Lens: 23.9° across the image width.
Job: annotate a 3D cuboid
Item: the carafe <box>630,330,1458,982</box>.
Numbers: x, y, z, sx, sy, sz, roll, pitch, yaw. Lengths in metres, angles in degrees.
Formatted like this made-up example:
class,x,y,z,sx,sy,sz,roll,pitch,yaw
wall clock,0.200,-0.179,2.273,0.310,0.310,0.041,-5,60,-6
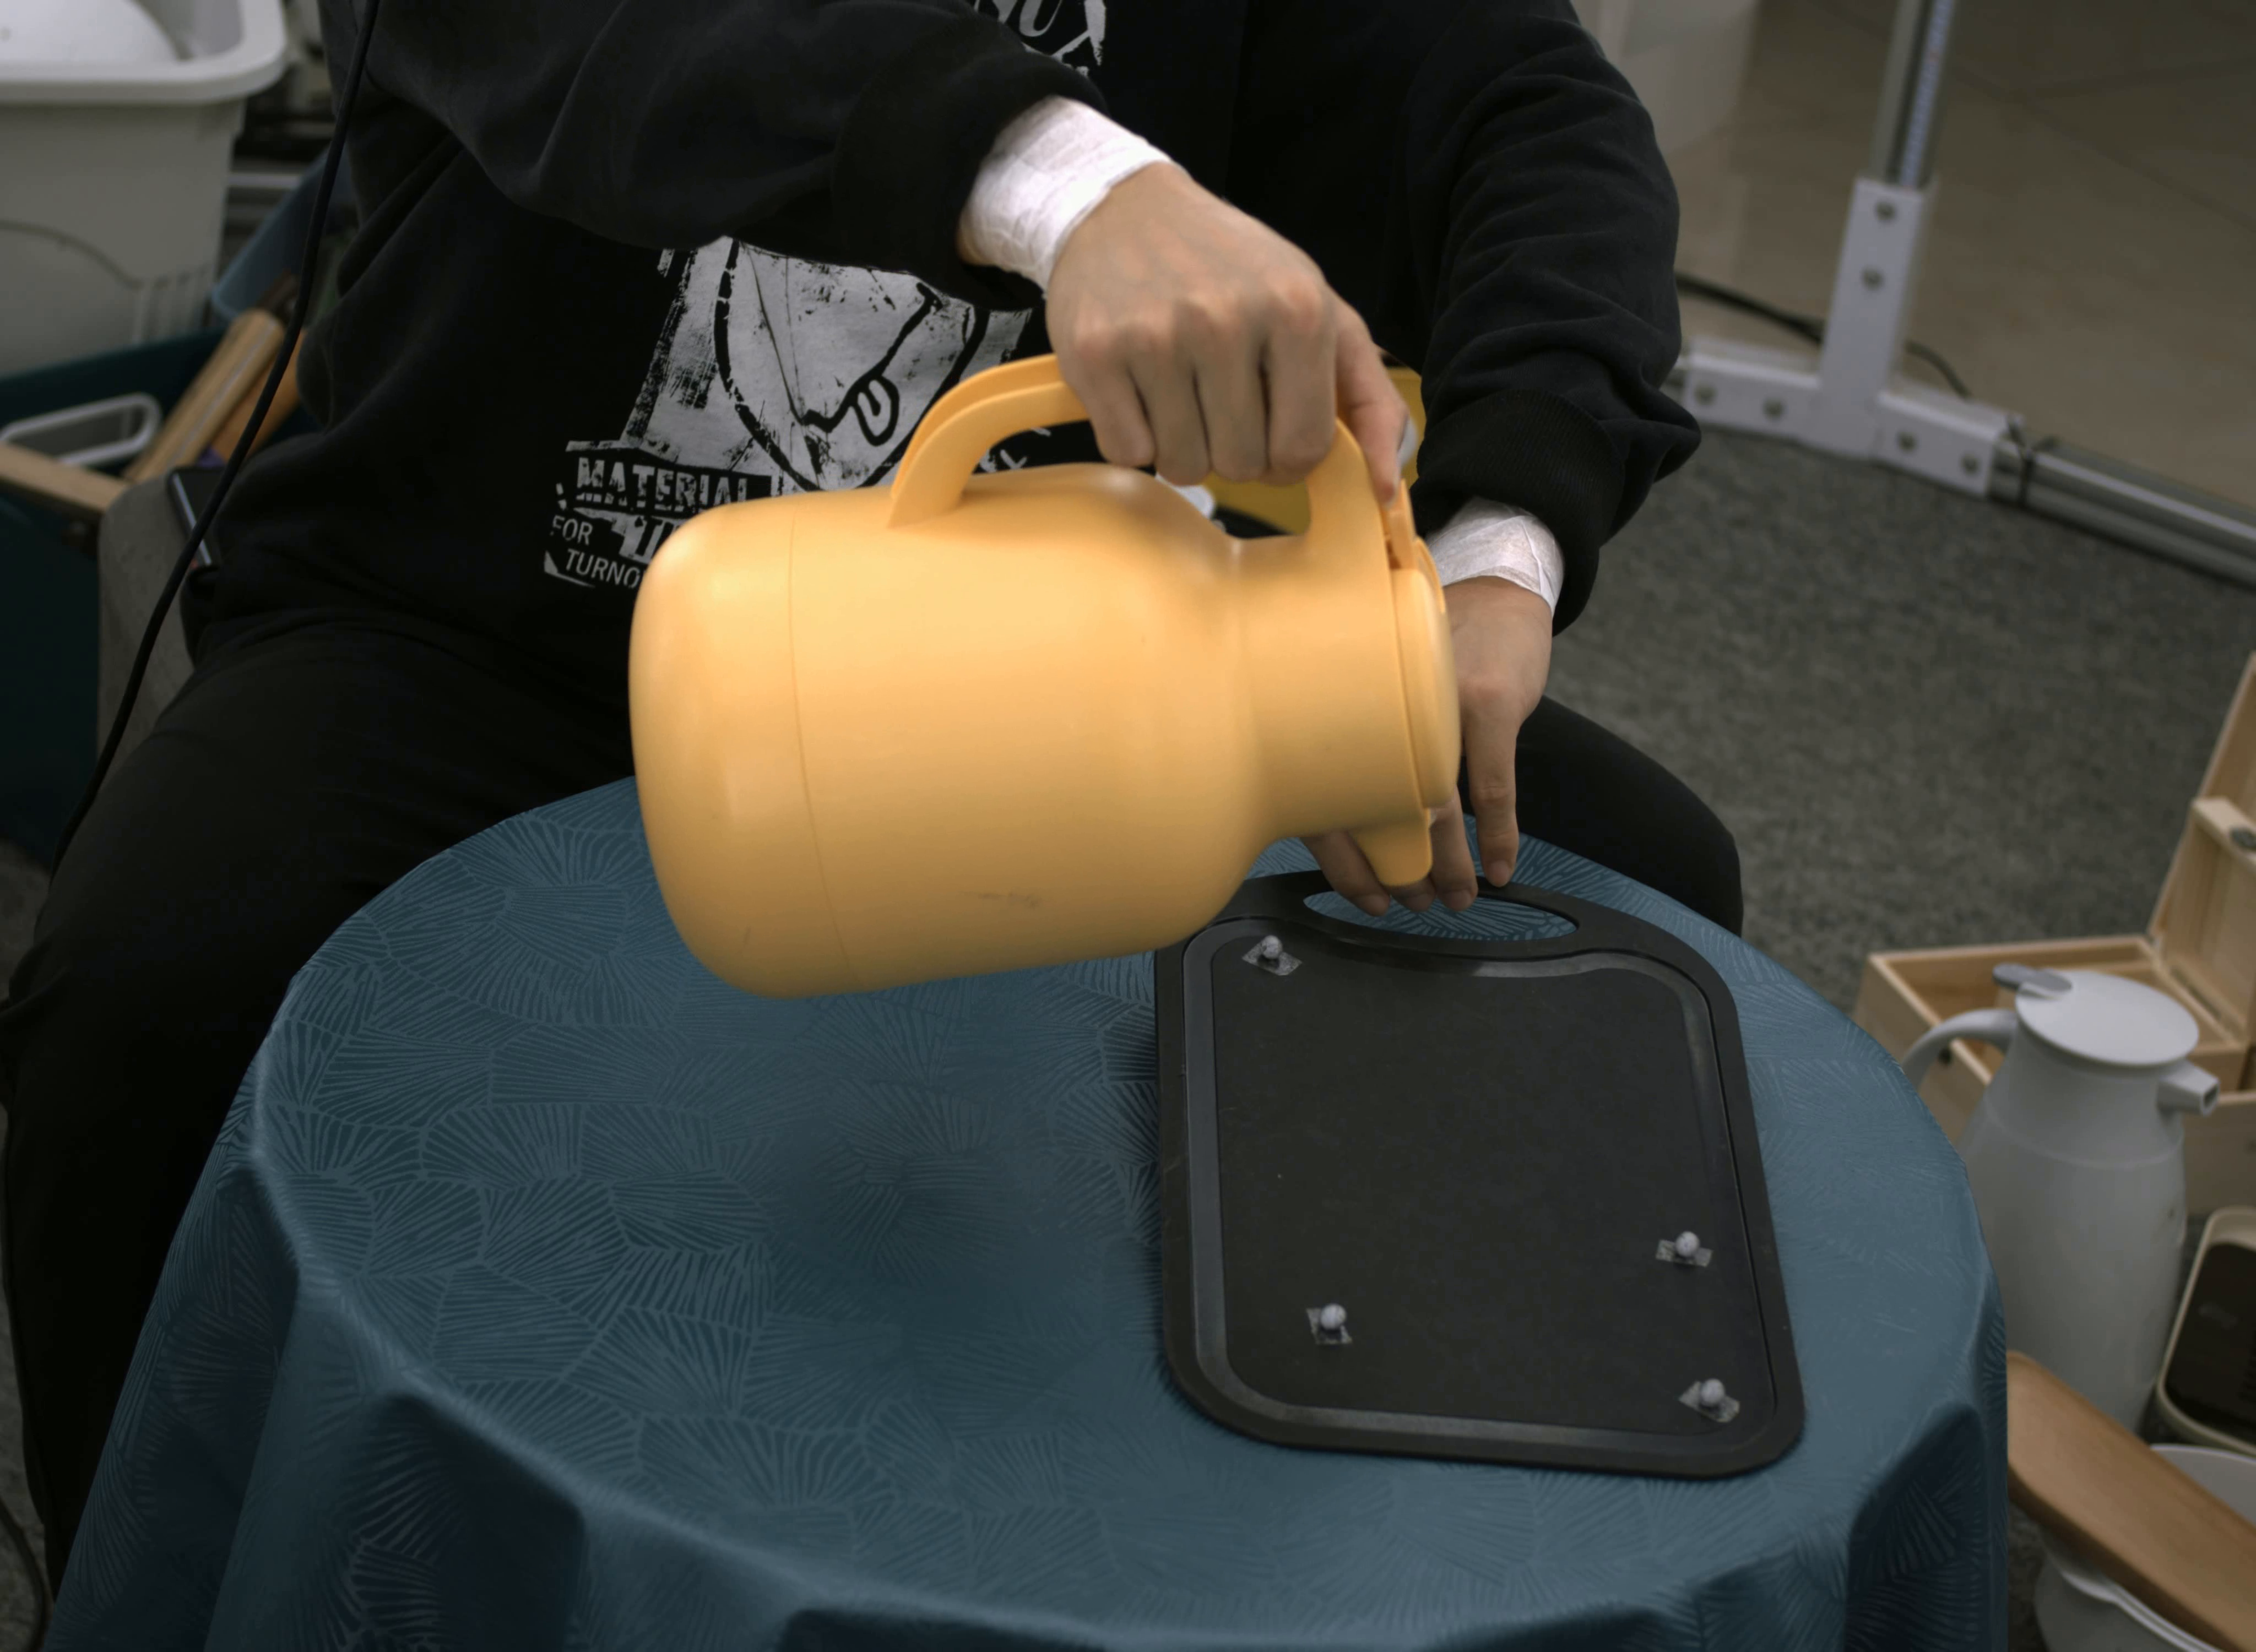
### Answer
class,x,y,z,sx,sy,sz,roll,pitch,yaw
carafe,-0.027,-0.057,1.708,0.260,0.201,0.164,-6,24,4

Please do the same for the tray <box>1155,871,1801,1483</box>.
class,x,y,z,sx,sy,sz,roll,pitch,yaw
tray,0.114,0.109,1.811,0.210,0.010,0.328,6,34,-3
